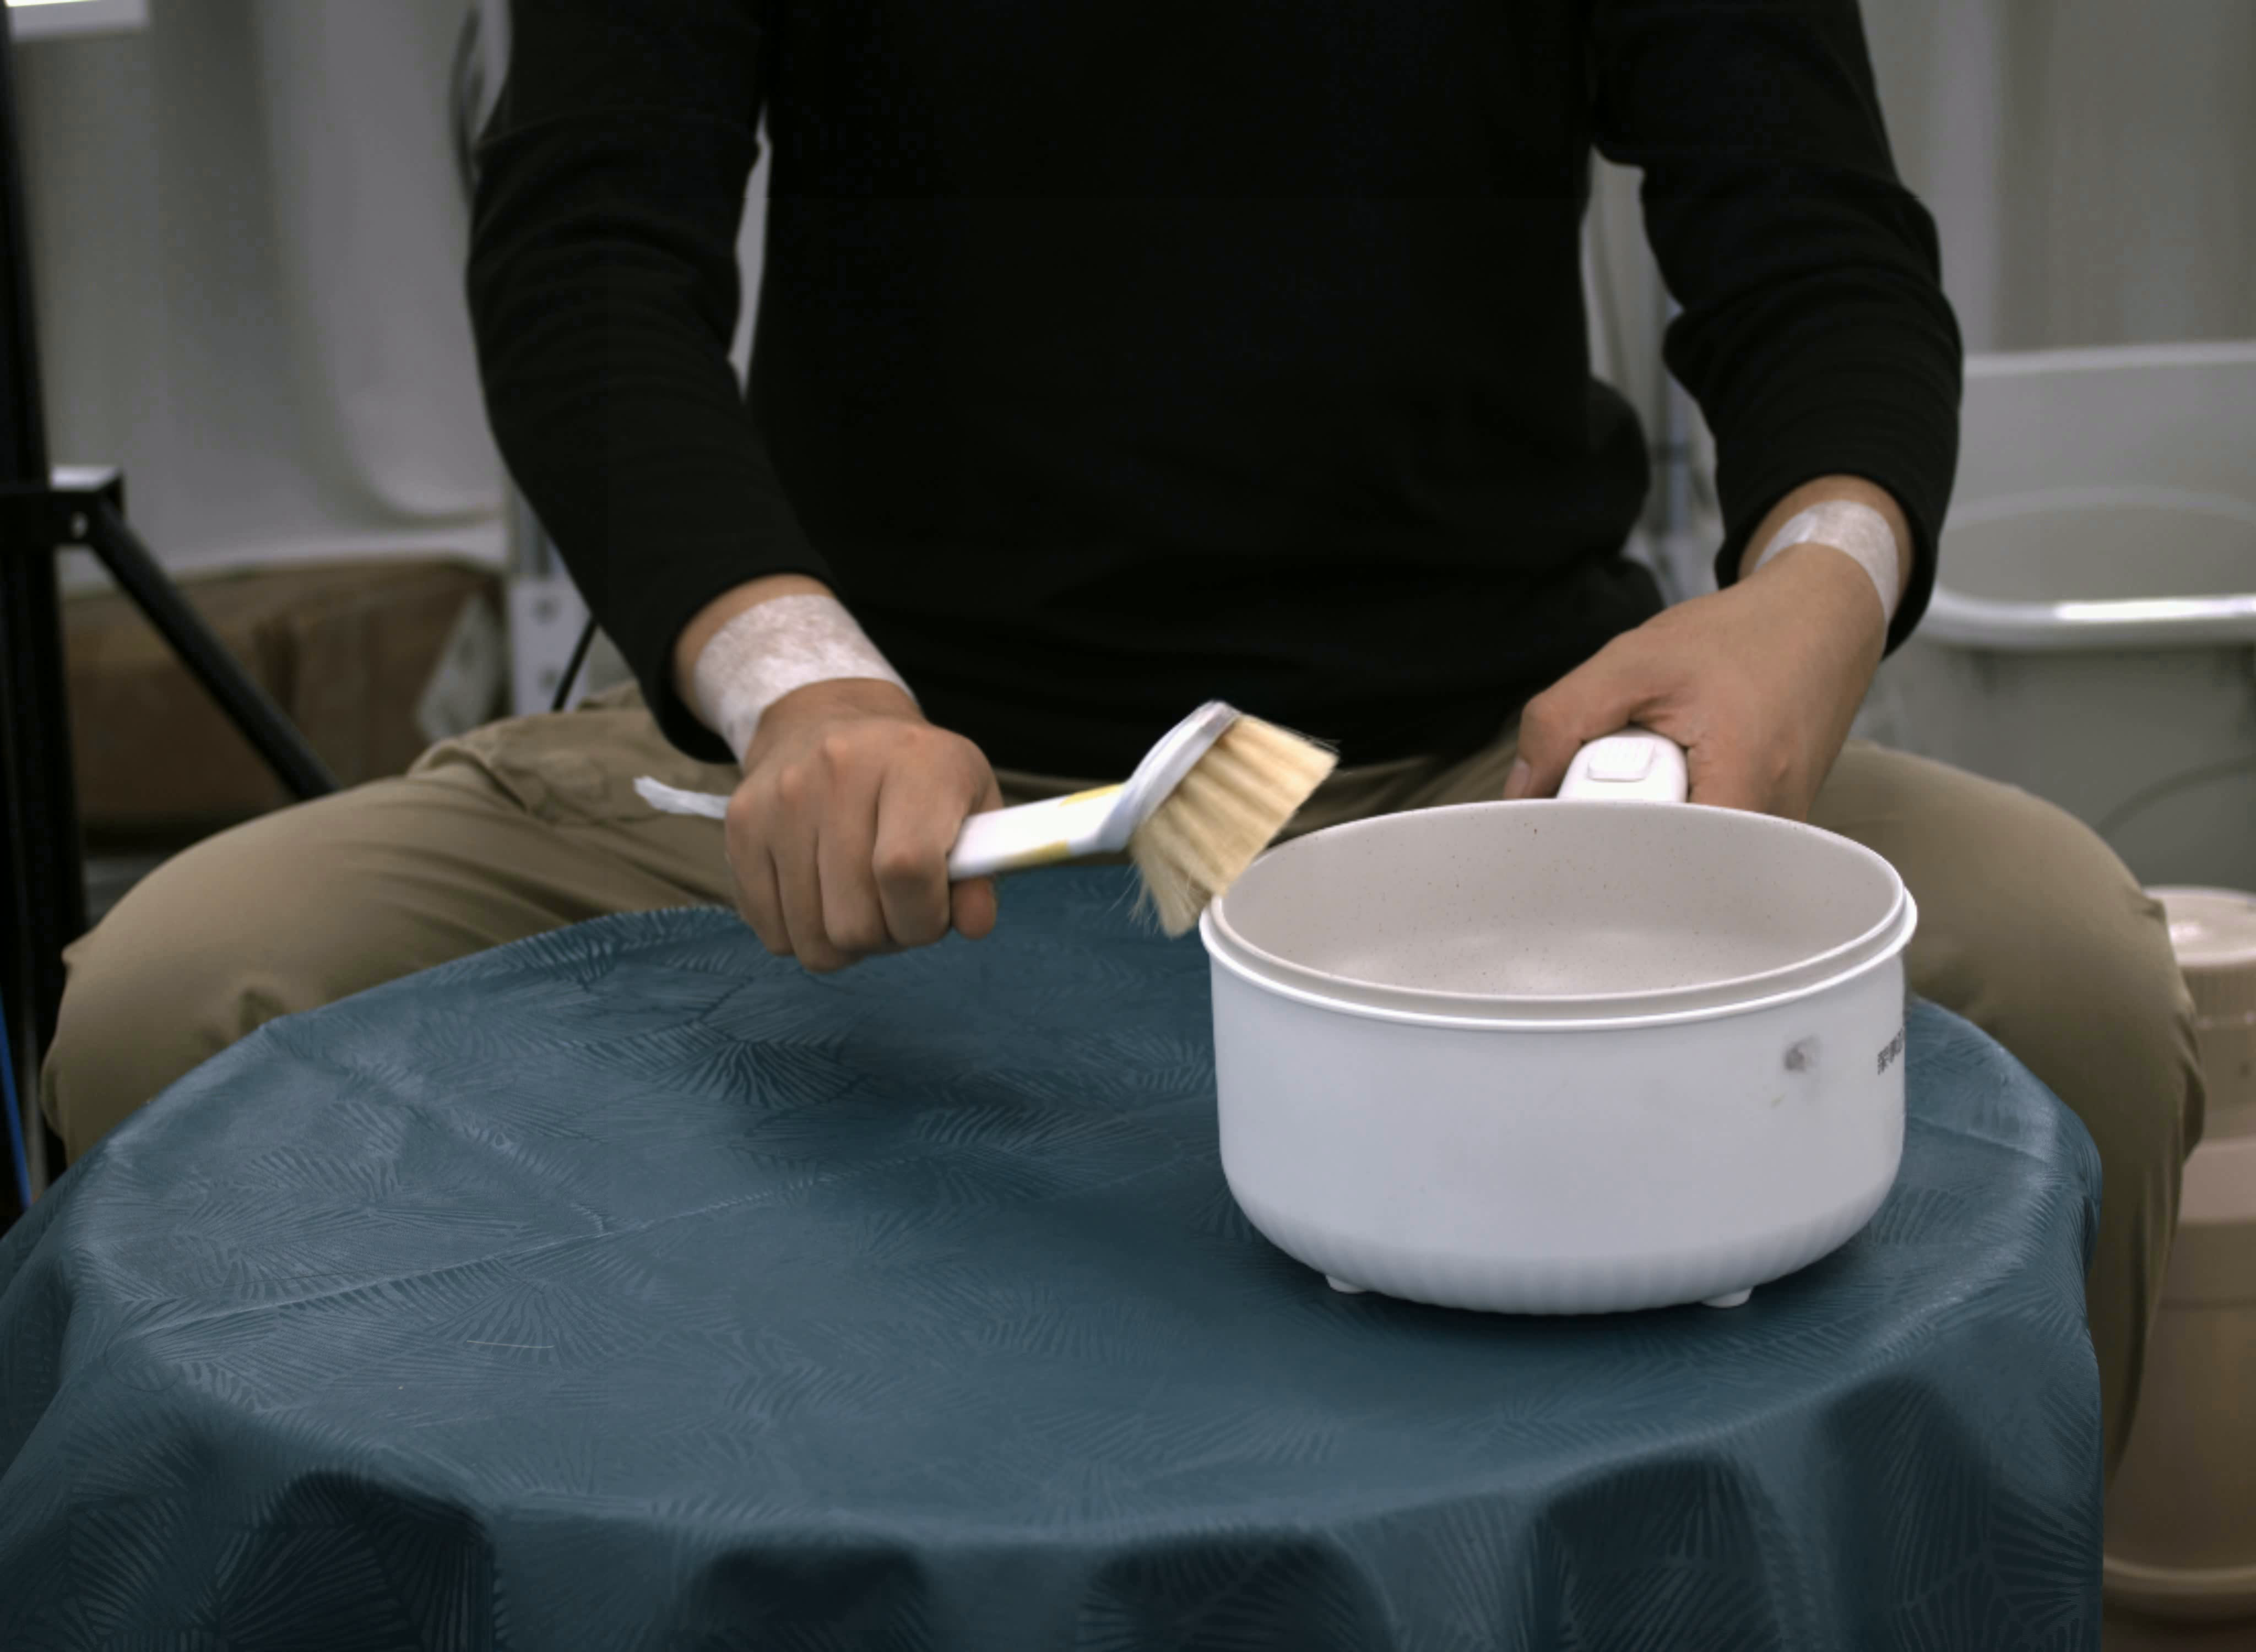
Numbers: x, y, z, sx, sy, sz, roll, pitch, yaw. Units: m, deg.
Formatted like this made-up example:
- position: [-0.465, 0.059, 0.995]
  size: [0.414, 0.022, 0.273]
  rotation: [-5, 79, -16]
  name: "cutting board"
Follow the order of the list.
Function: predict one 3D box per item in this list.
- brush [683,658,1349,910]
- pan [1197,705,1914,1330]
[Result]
- position: [-0.037, 0.007, 1.608]
  size: [0.271, 0.056, 0.067]
  rotation: [-17, 17, 47]
  name: "brush"
- position: [0.137, 0.052, 1.567]
  size: [0.202, 0.102, 0.352]
  rotation: [-1, 14, 13]
  name: "pan"
